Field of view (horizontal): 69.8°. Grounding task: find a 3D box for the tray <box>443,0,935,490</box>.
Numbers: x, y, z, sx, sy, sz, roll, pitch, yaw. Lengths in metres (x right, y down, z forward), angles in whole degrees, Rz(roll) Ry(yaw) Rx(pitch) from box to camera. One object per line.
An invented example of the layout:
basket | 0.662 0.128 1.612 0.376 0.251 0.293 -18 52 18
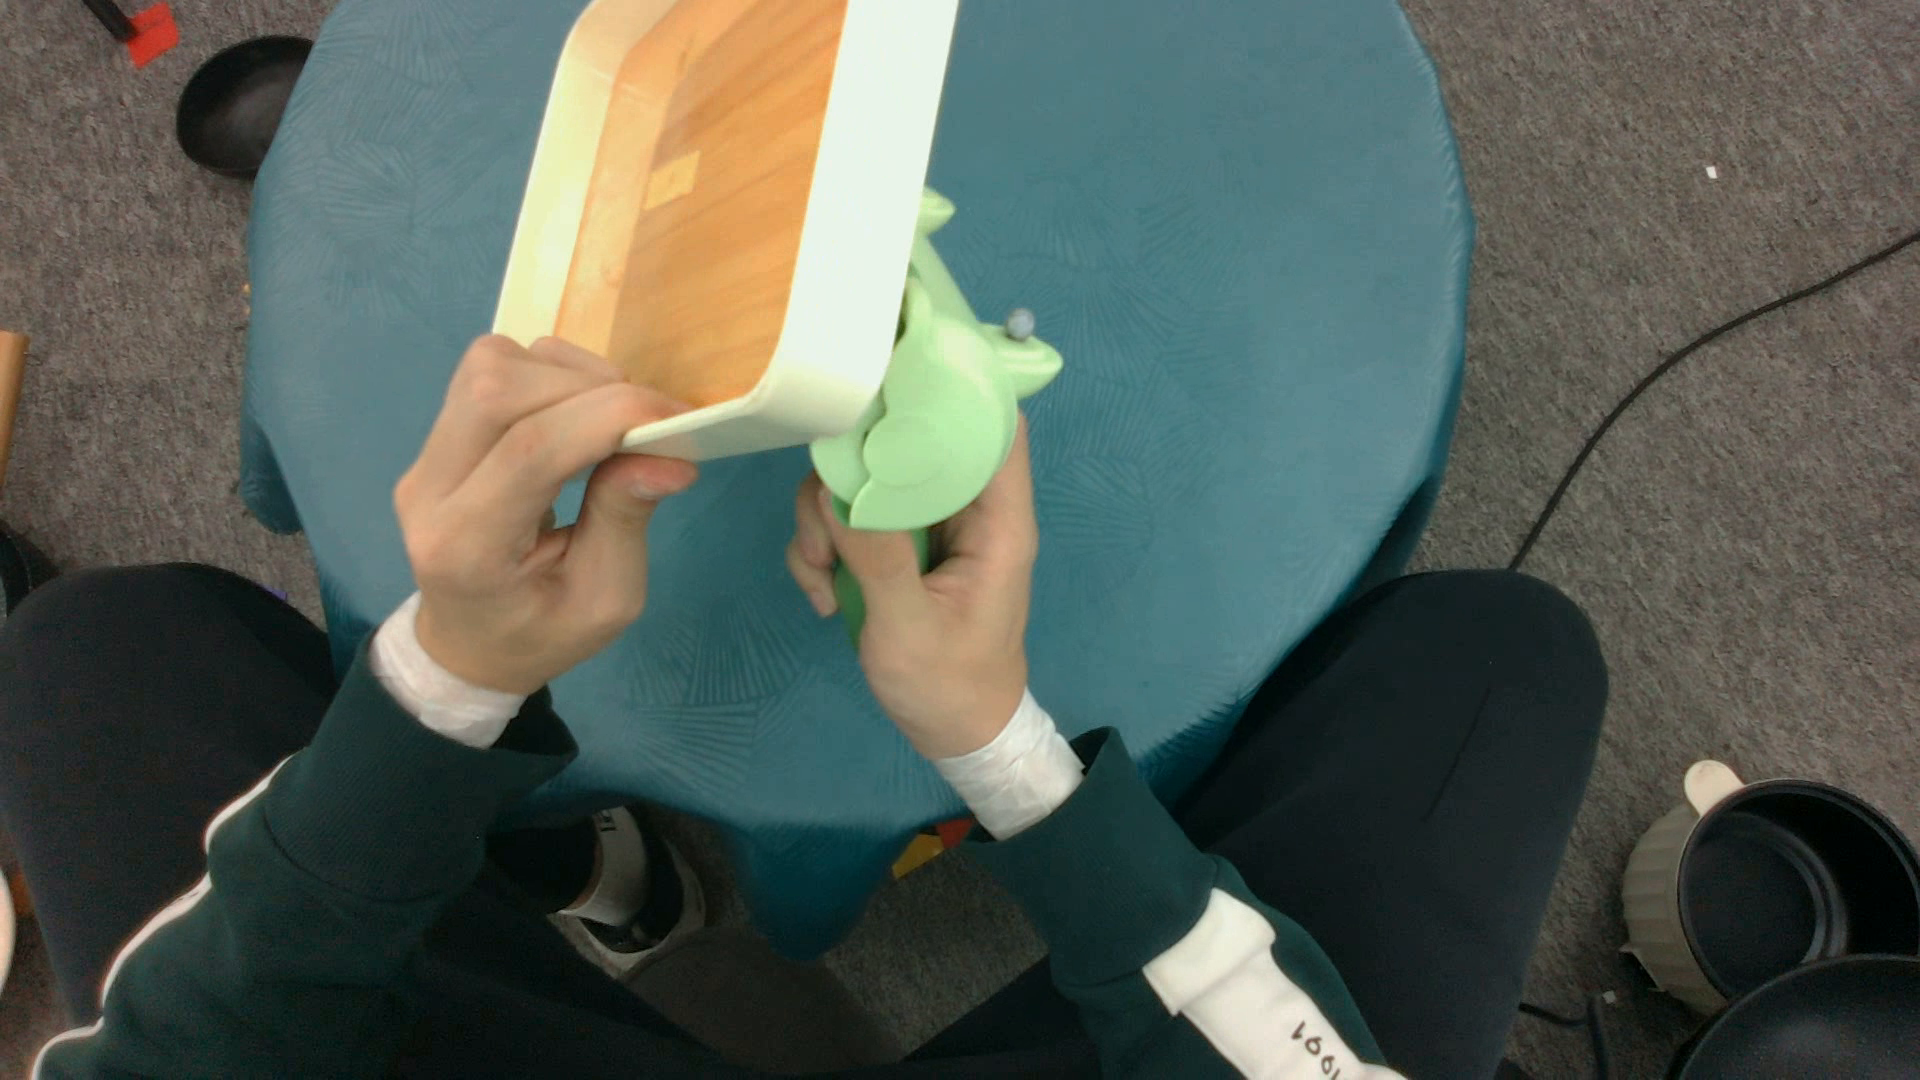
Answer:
tray | -0.097 -0.116 0.430 0.027 0.299 0.192 13 81 -33

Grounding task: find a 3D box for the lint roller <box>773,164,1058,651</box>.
lint roller | -0.018 -0.042 0.447 0.082 0.182 0.199 -20 38 -5
